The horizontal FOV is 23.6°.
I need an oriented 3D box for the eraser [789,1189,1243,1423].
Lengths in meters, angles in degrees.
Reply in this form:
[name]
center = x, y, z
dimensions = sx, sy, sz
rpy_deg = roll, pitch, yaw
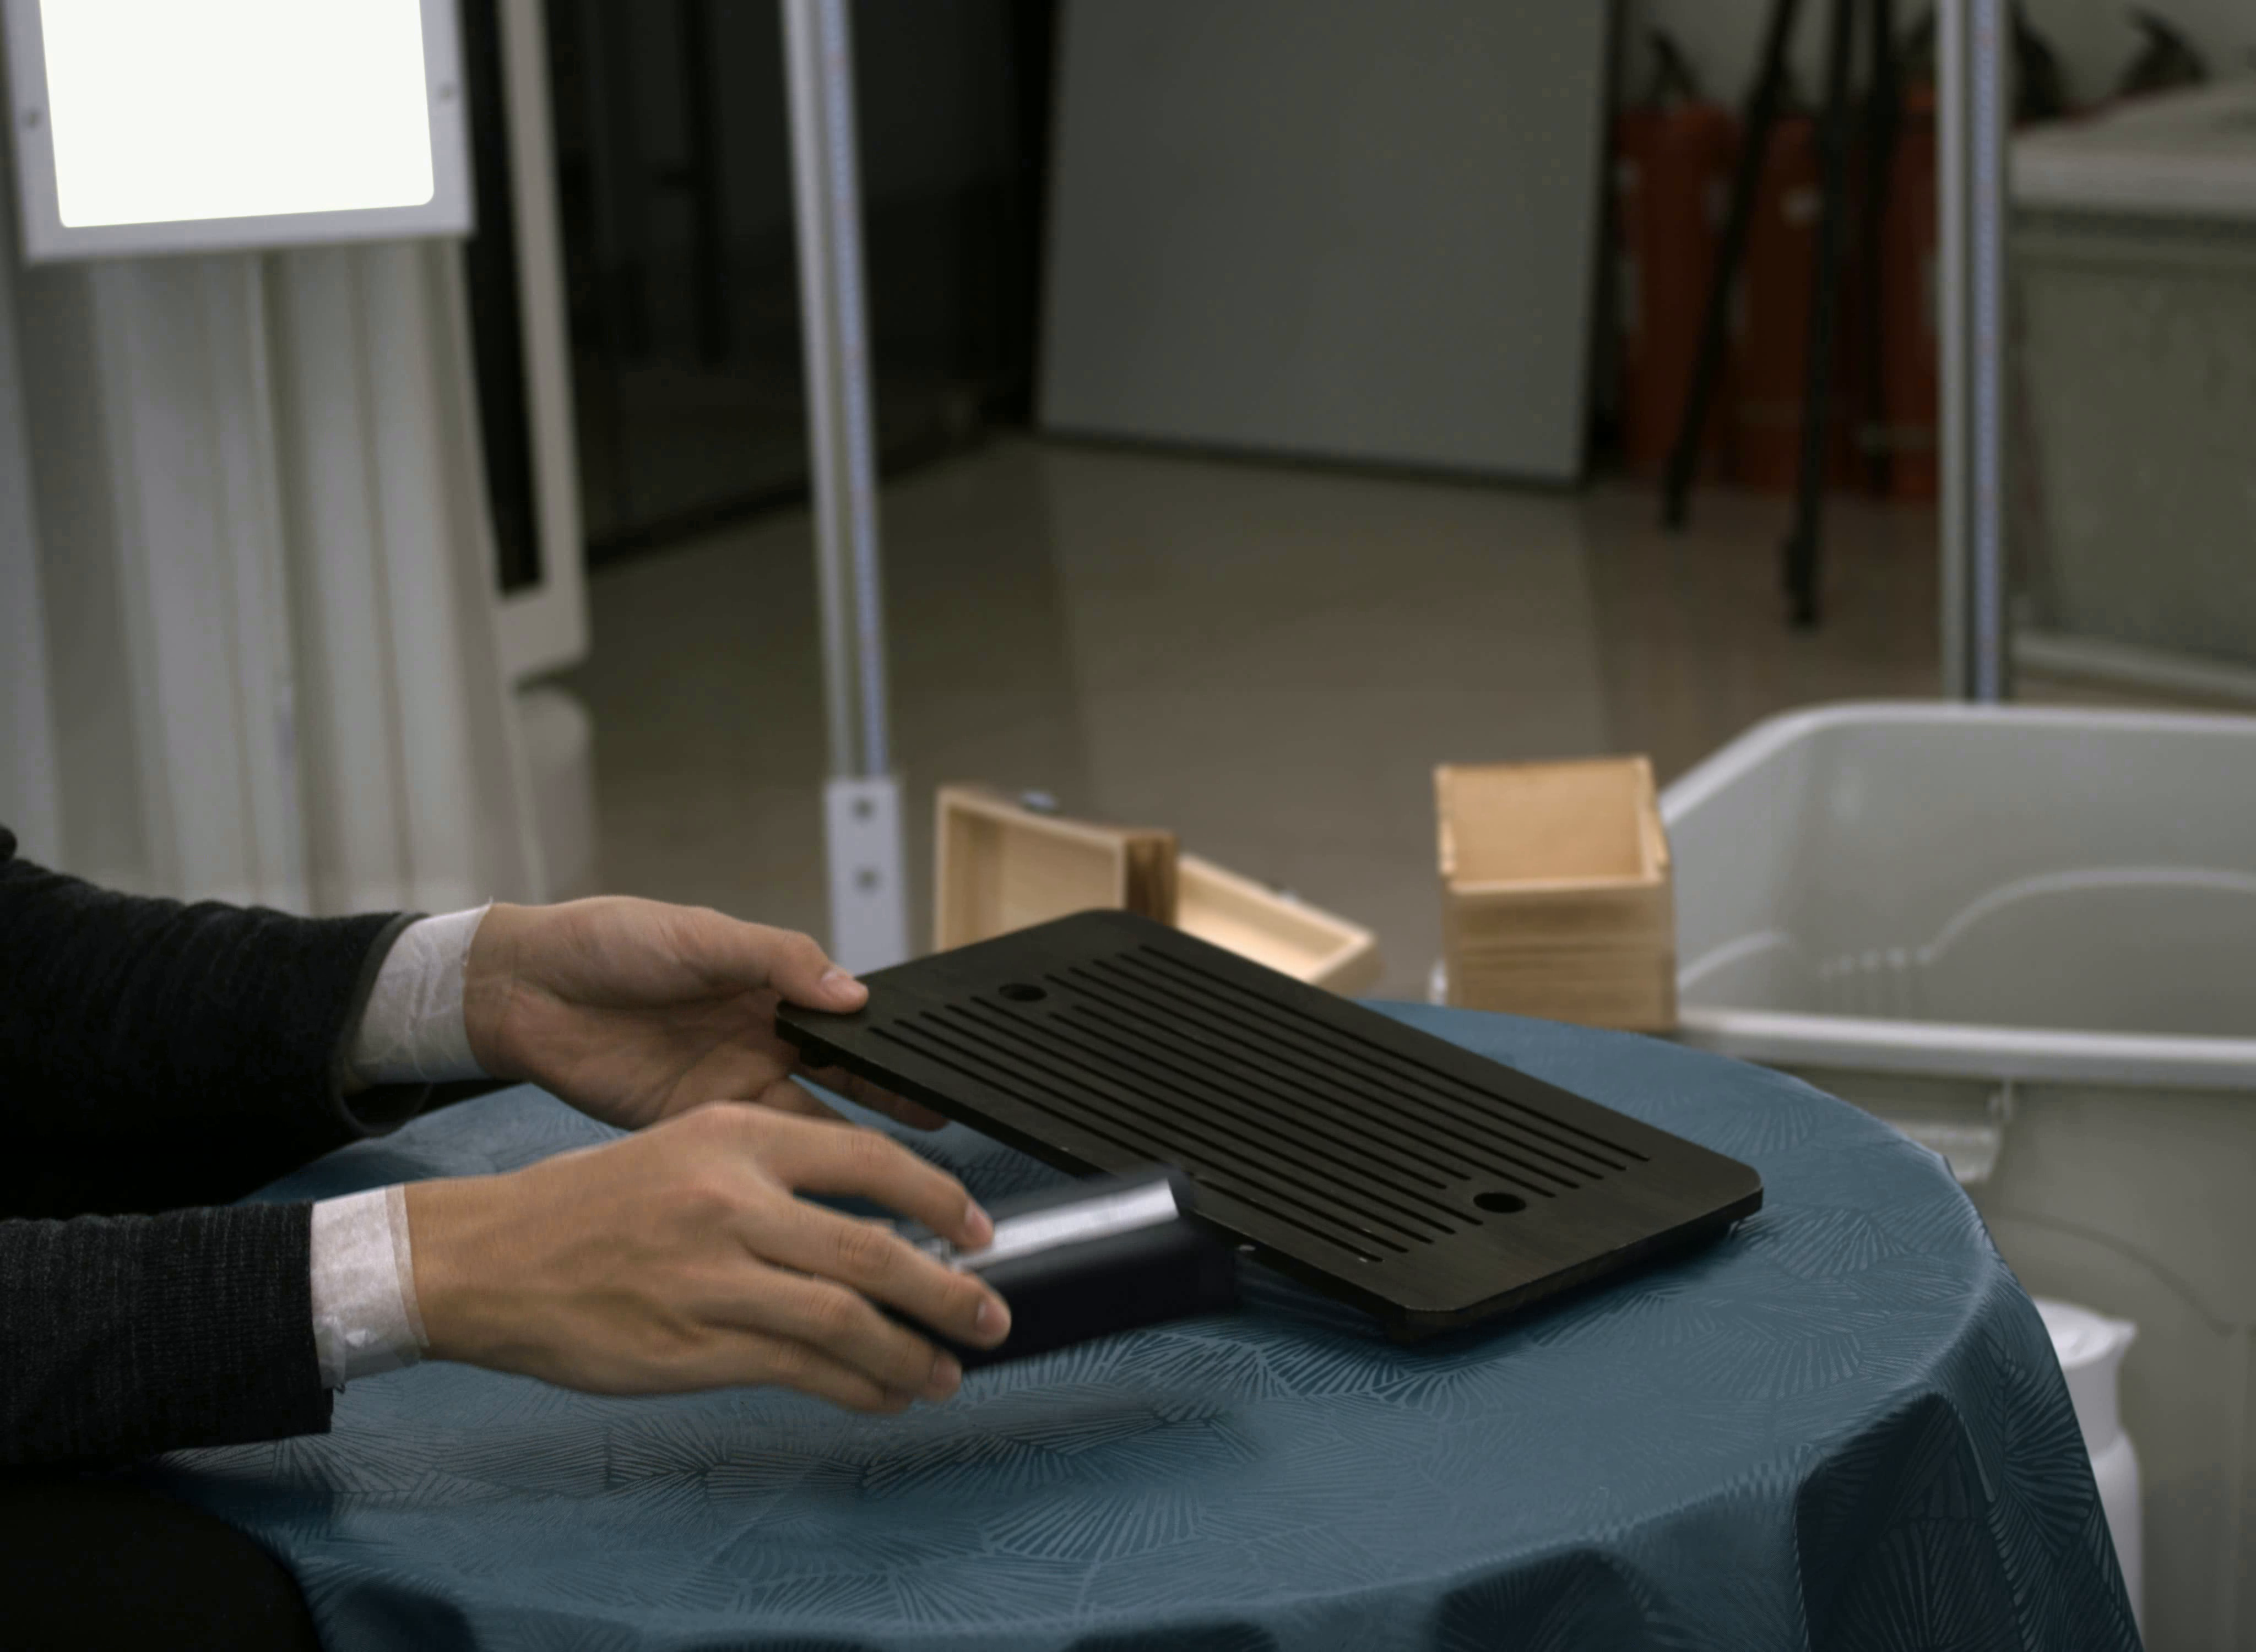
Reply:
[eraser]
center = -0.031, 0.136, 1.549
dimensions = 0.123, 0.031, 0.054
rpy_deg = -12, 21, -15

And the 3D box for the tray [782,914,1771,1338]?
[tray]
center = 0.044, 0.093, 1.745
dimensions = 0.166, 0.019, 0.309
rpy_deg = -15, 26, -42
